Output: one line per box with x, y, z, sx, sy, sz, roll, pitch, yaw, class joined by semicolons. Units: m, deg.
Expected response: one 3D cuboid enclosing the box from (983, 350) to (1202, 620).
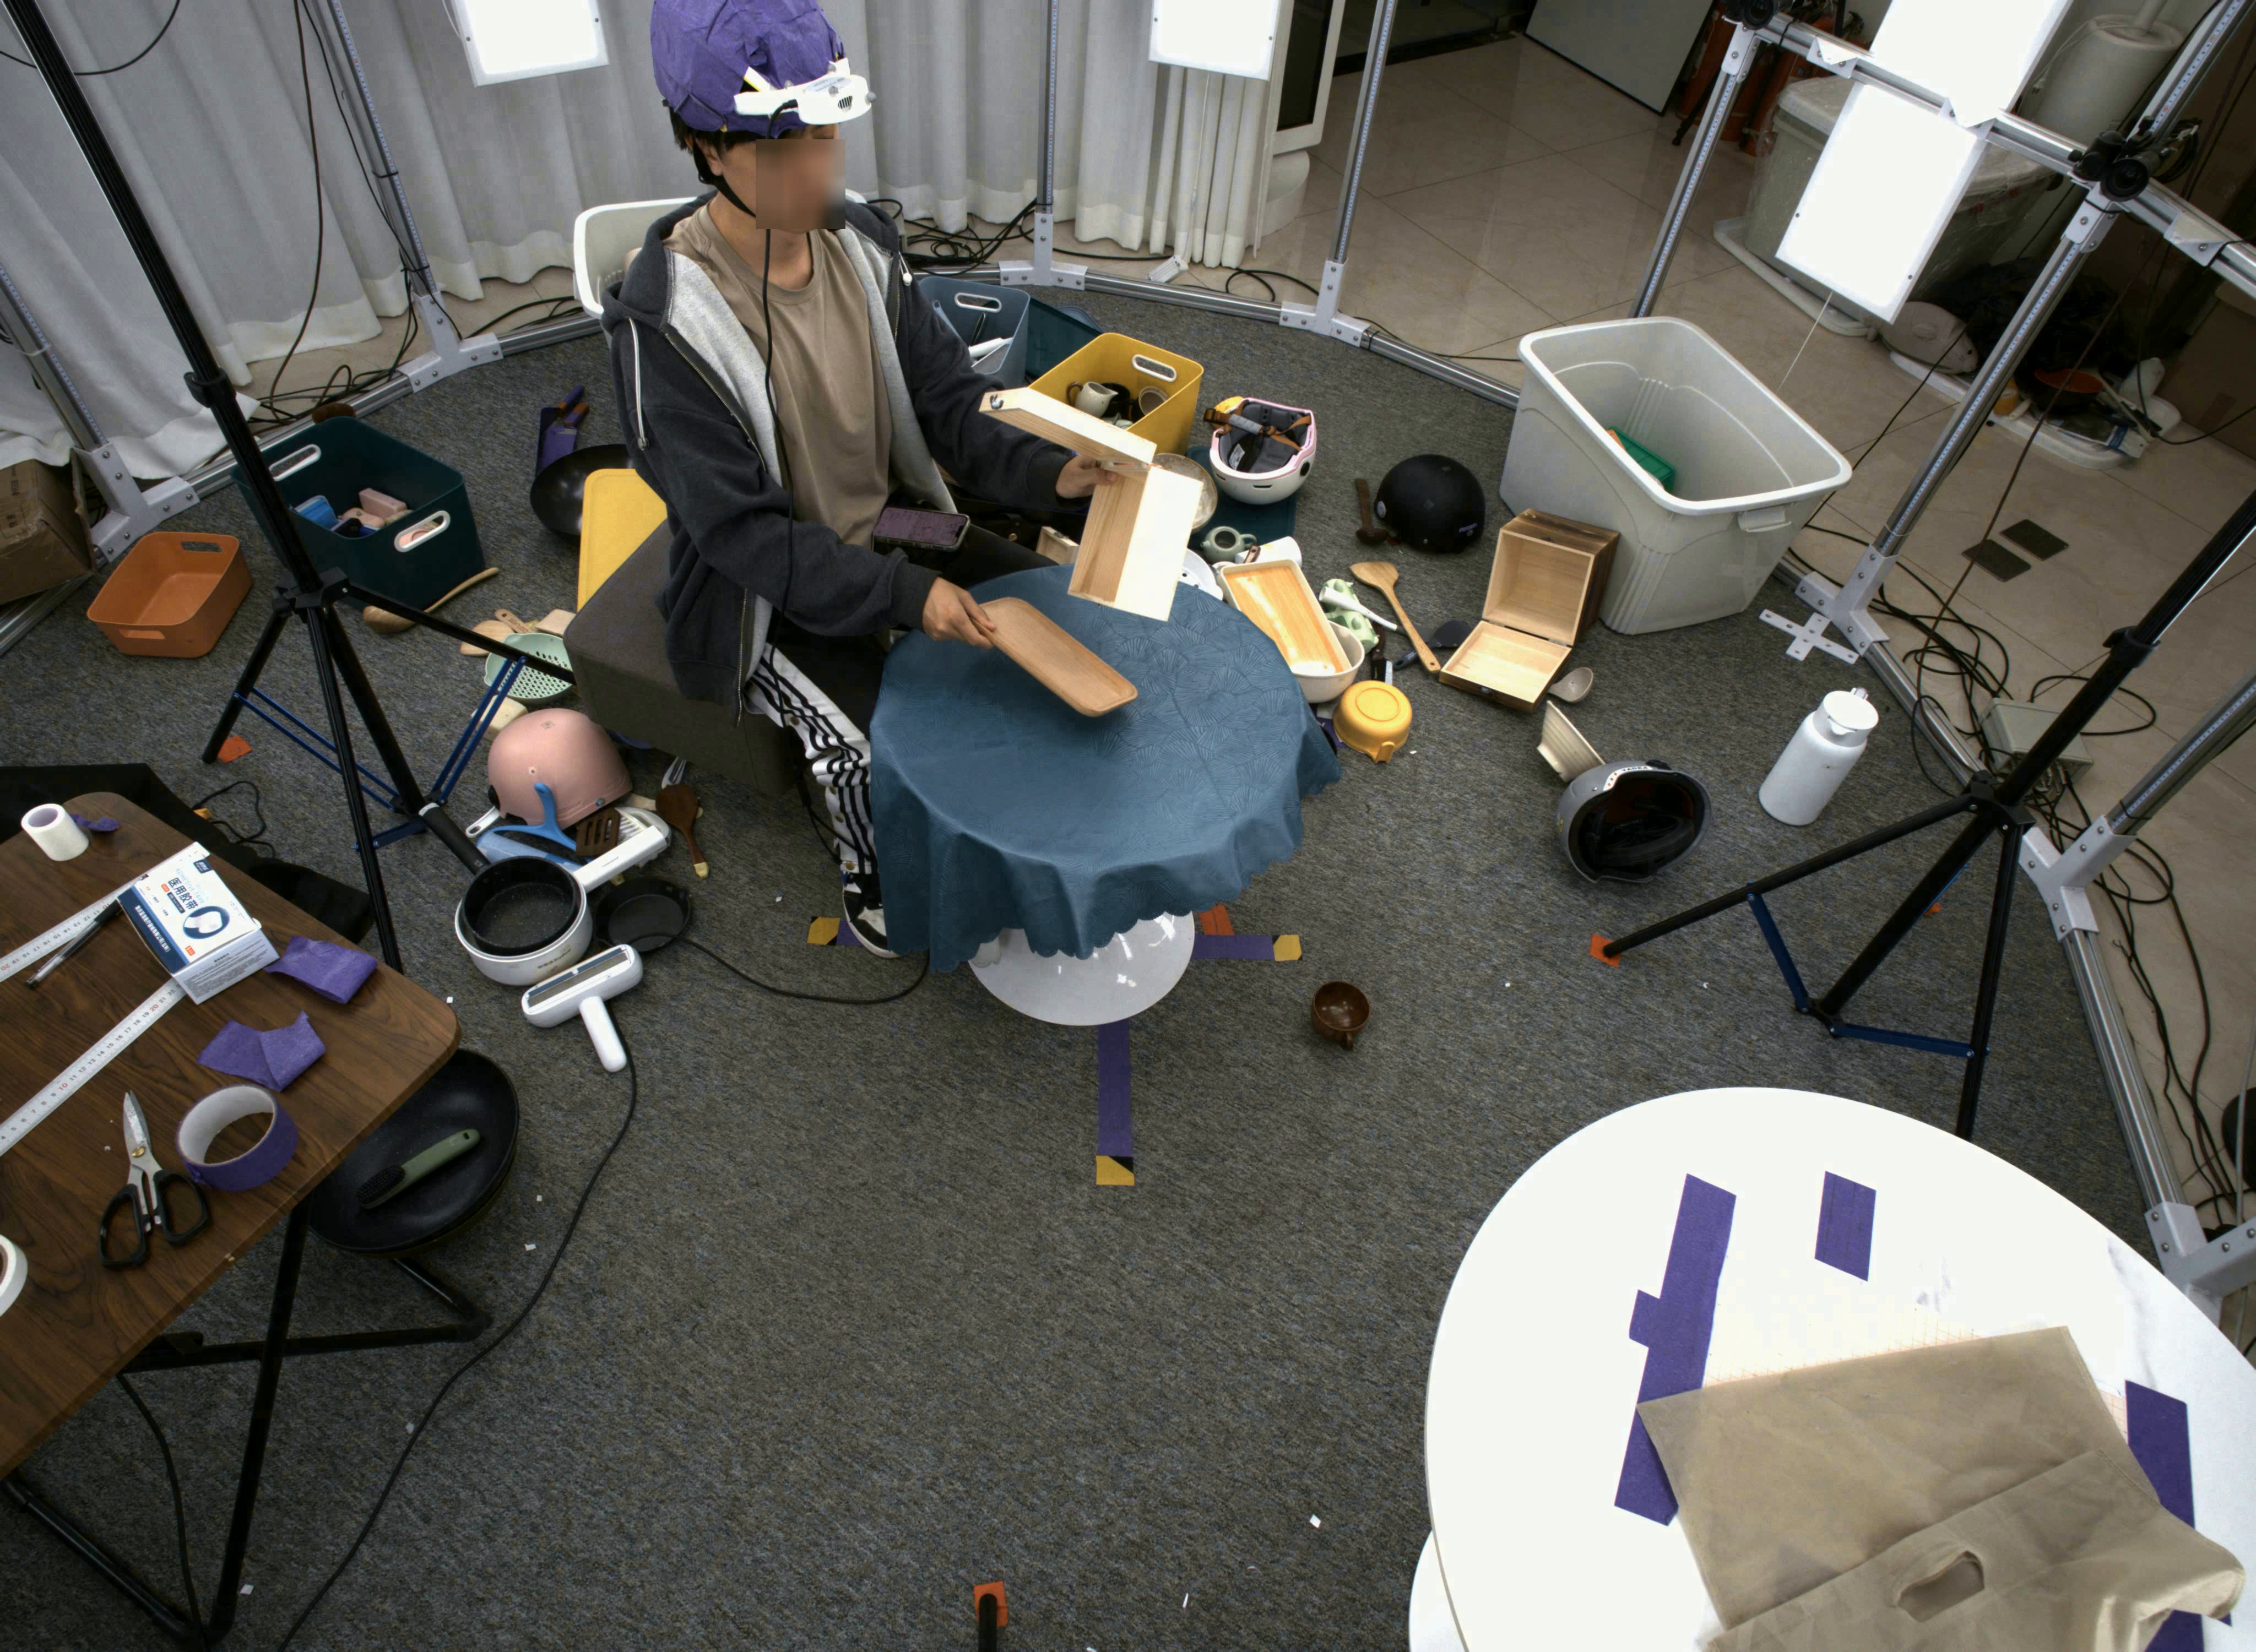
-0.066;-0.420;1.636;0.251;0.264;0.184;11;7;-26;box

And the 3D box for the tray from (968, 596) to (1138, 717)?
-0.105;-0.238;1.784;0.254;0.022;0.131;39;33;20;tray
